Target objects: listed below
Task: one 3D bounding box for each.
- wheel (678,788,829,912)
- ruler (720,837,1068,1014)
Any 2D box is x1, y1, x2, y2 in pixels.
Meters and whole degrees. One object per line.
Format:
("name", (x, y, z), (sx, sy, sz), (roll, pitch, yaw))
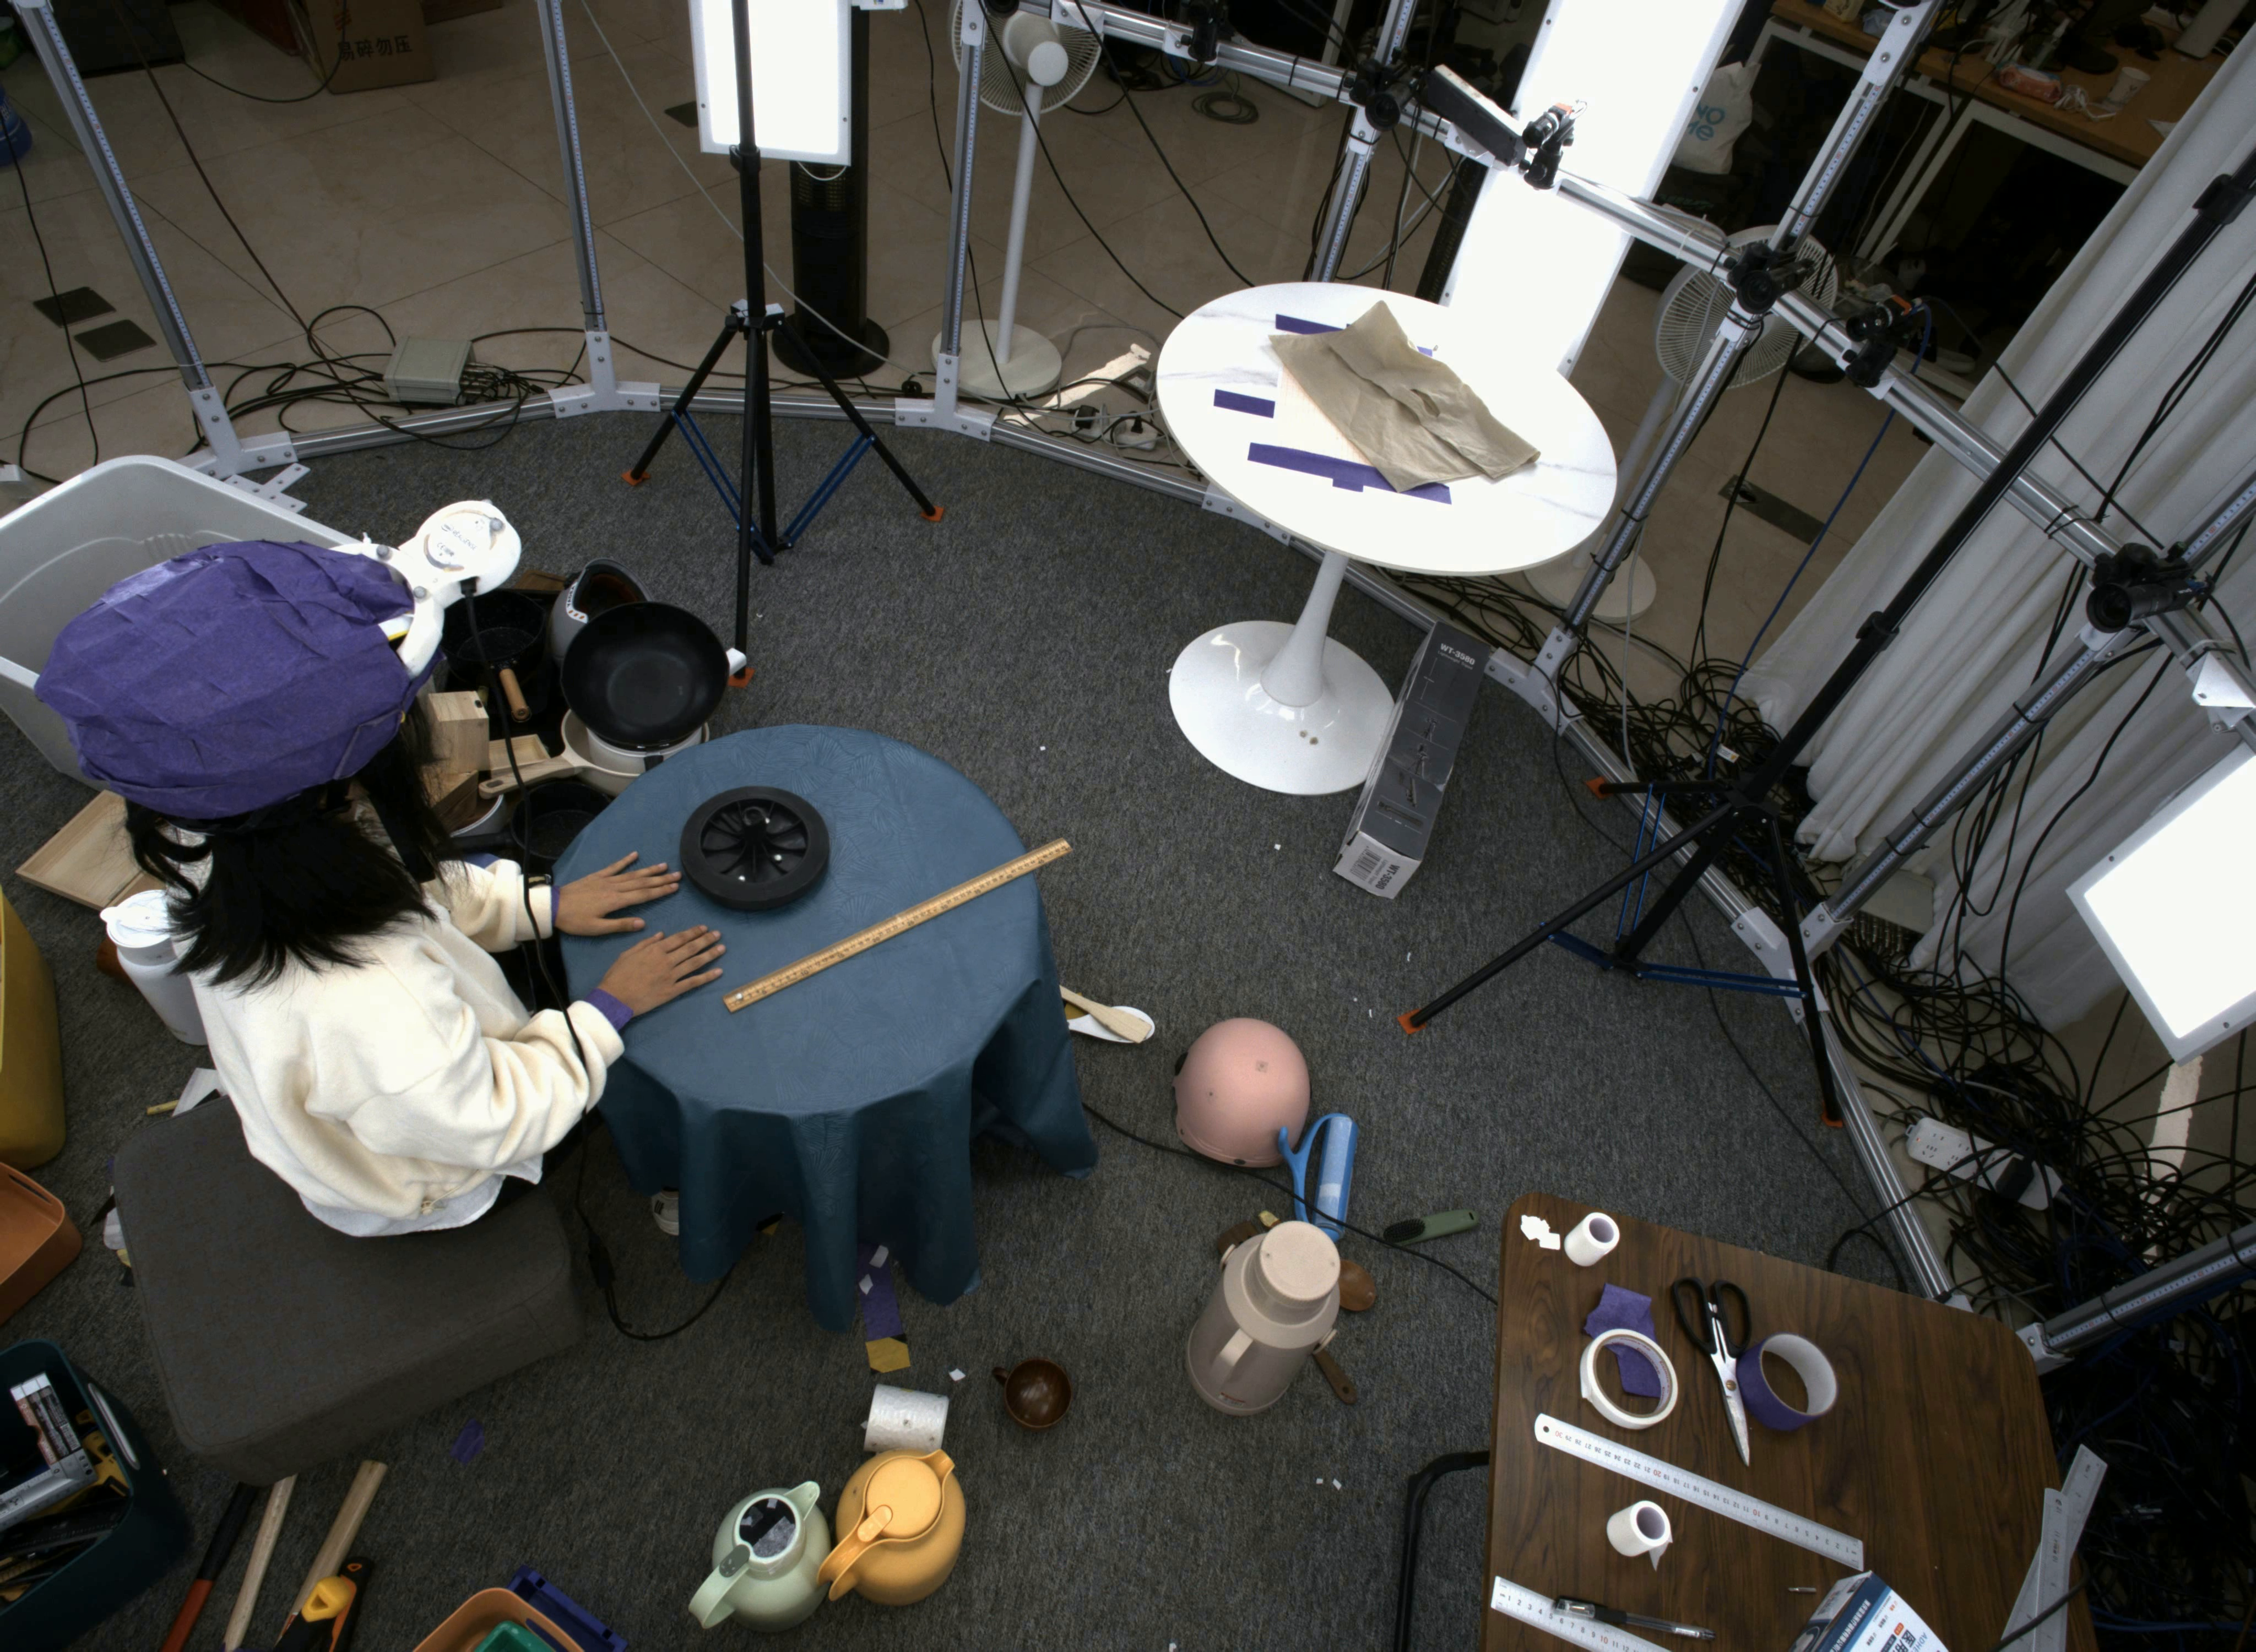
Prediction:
("wheel", (-0.478, 0.013, 1.646), (0.188, 0.081, 0.185), (21, 51, 3))
("ruler", (-0.284, 0.119, 1.664), (0.503, 0.006, 0.026), (-26, 65, -29))
